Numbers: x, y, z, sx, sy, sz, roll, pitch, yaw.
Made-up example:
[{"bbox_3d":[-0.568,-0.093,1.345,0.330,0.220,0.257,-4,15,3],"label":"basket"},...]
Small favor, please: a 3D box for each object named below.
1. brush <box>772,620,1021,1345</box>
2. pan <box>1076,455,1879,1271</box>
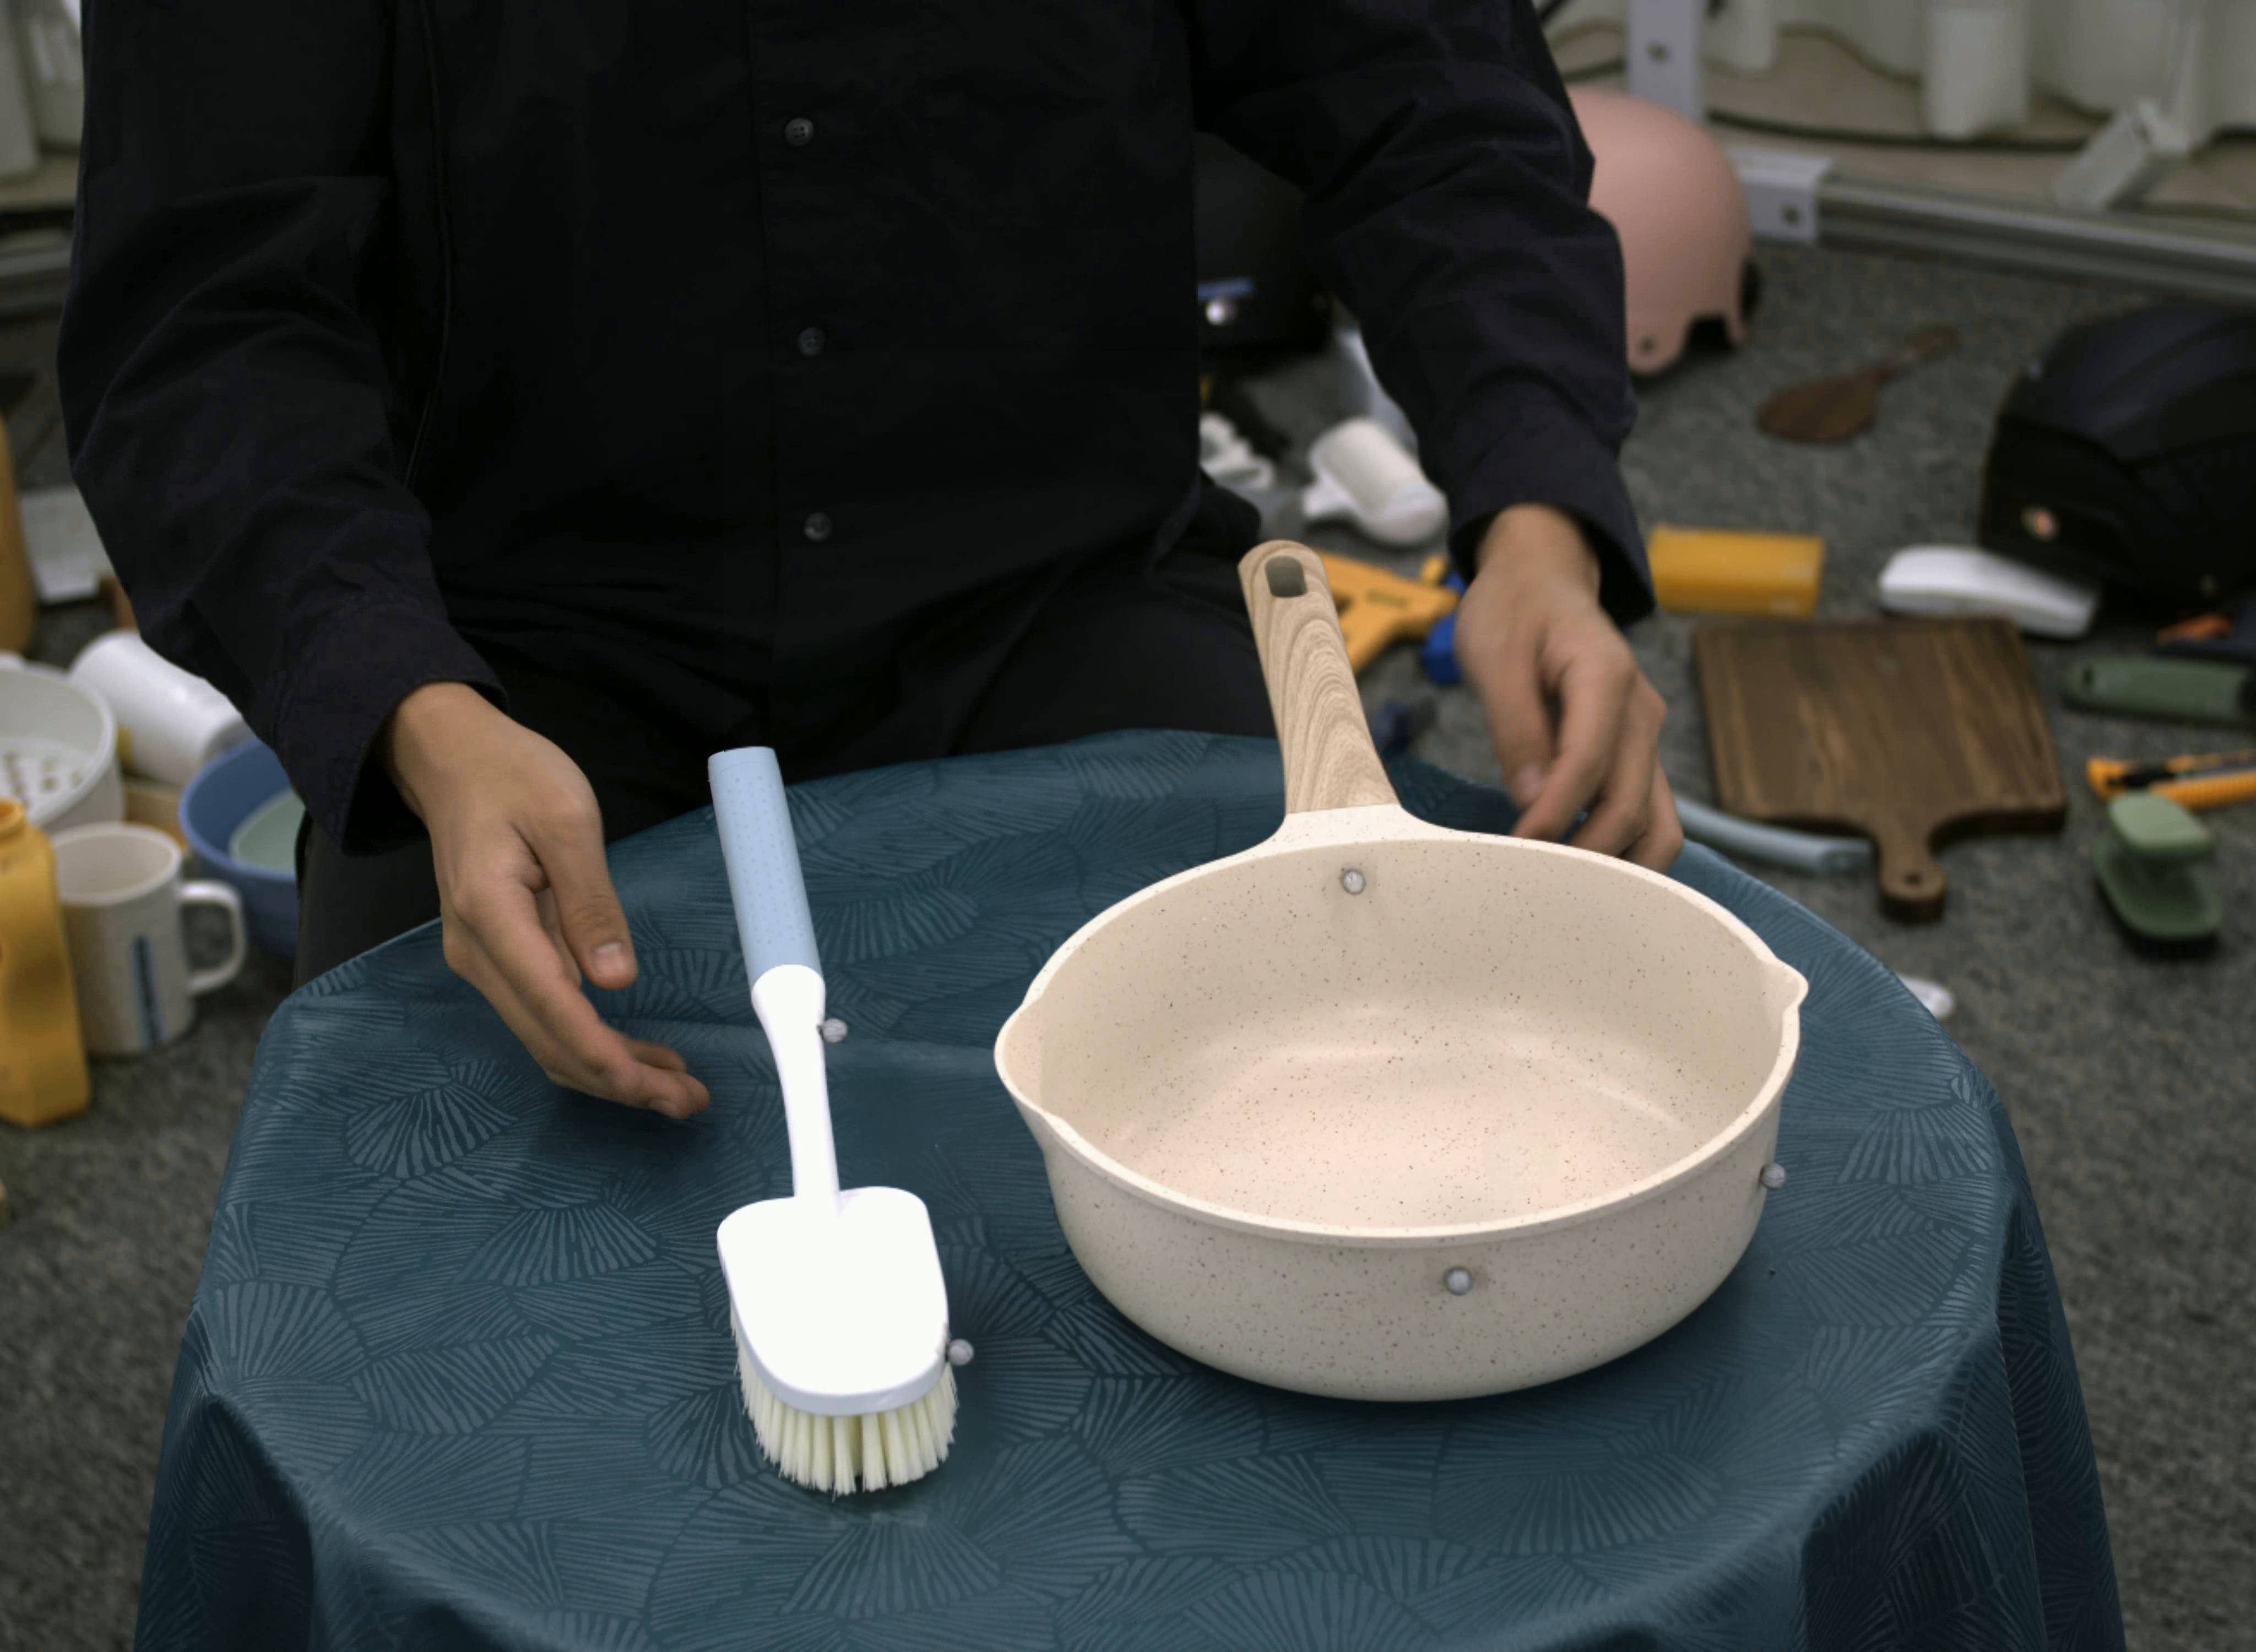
[{"bbox_3d":[-0.082,0.058,1.846,0.083,0.083,0.331,25,29,-28],"label":"brush"},{"bbox_3d":[0.104,0.009,1.906,0.262,0.101,0.441,-6,28,-5],"label":"pan"}]
